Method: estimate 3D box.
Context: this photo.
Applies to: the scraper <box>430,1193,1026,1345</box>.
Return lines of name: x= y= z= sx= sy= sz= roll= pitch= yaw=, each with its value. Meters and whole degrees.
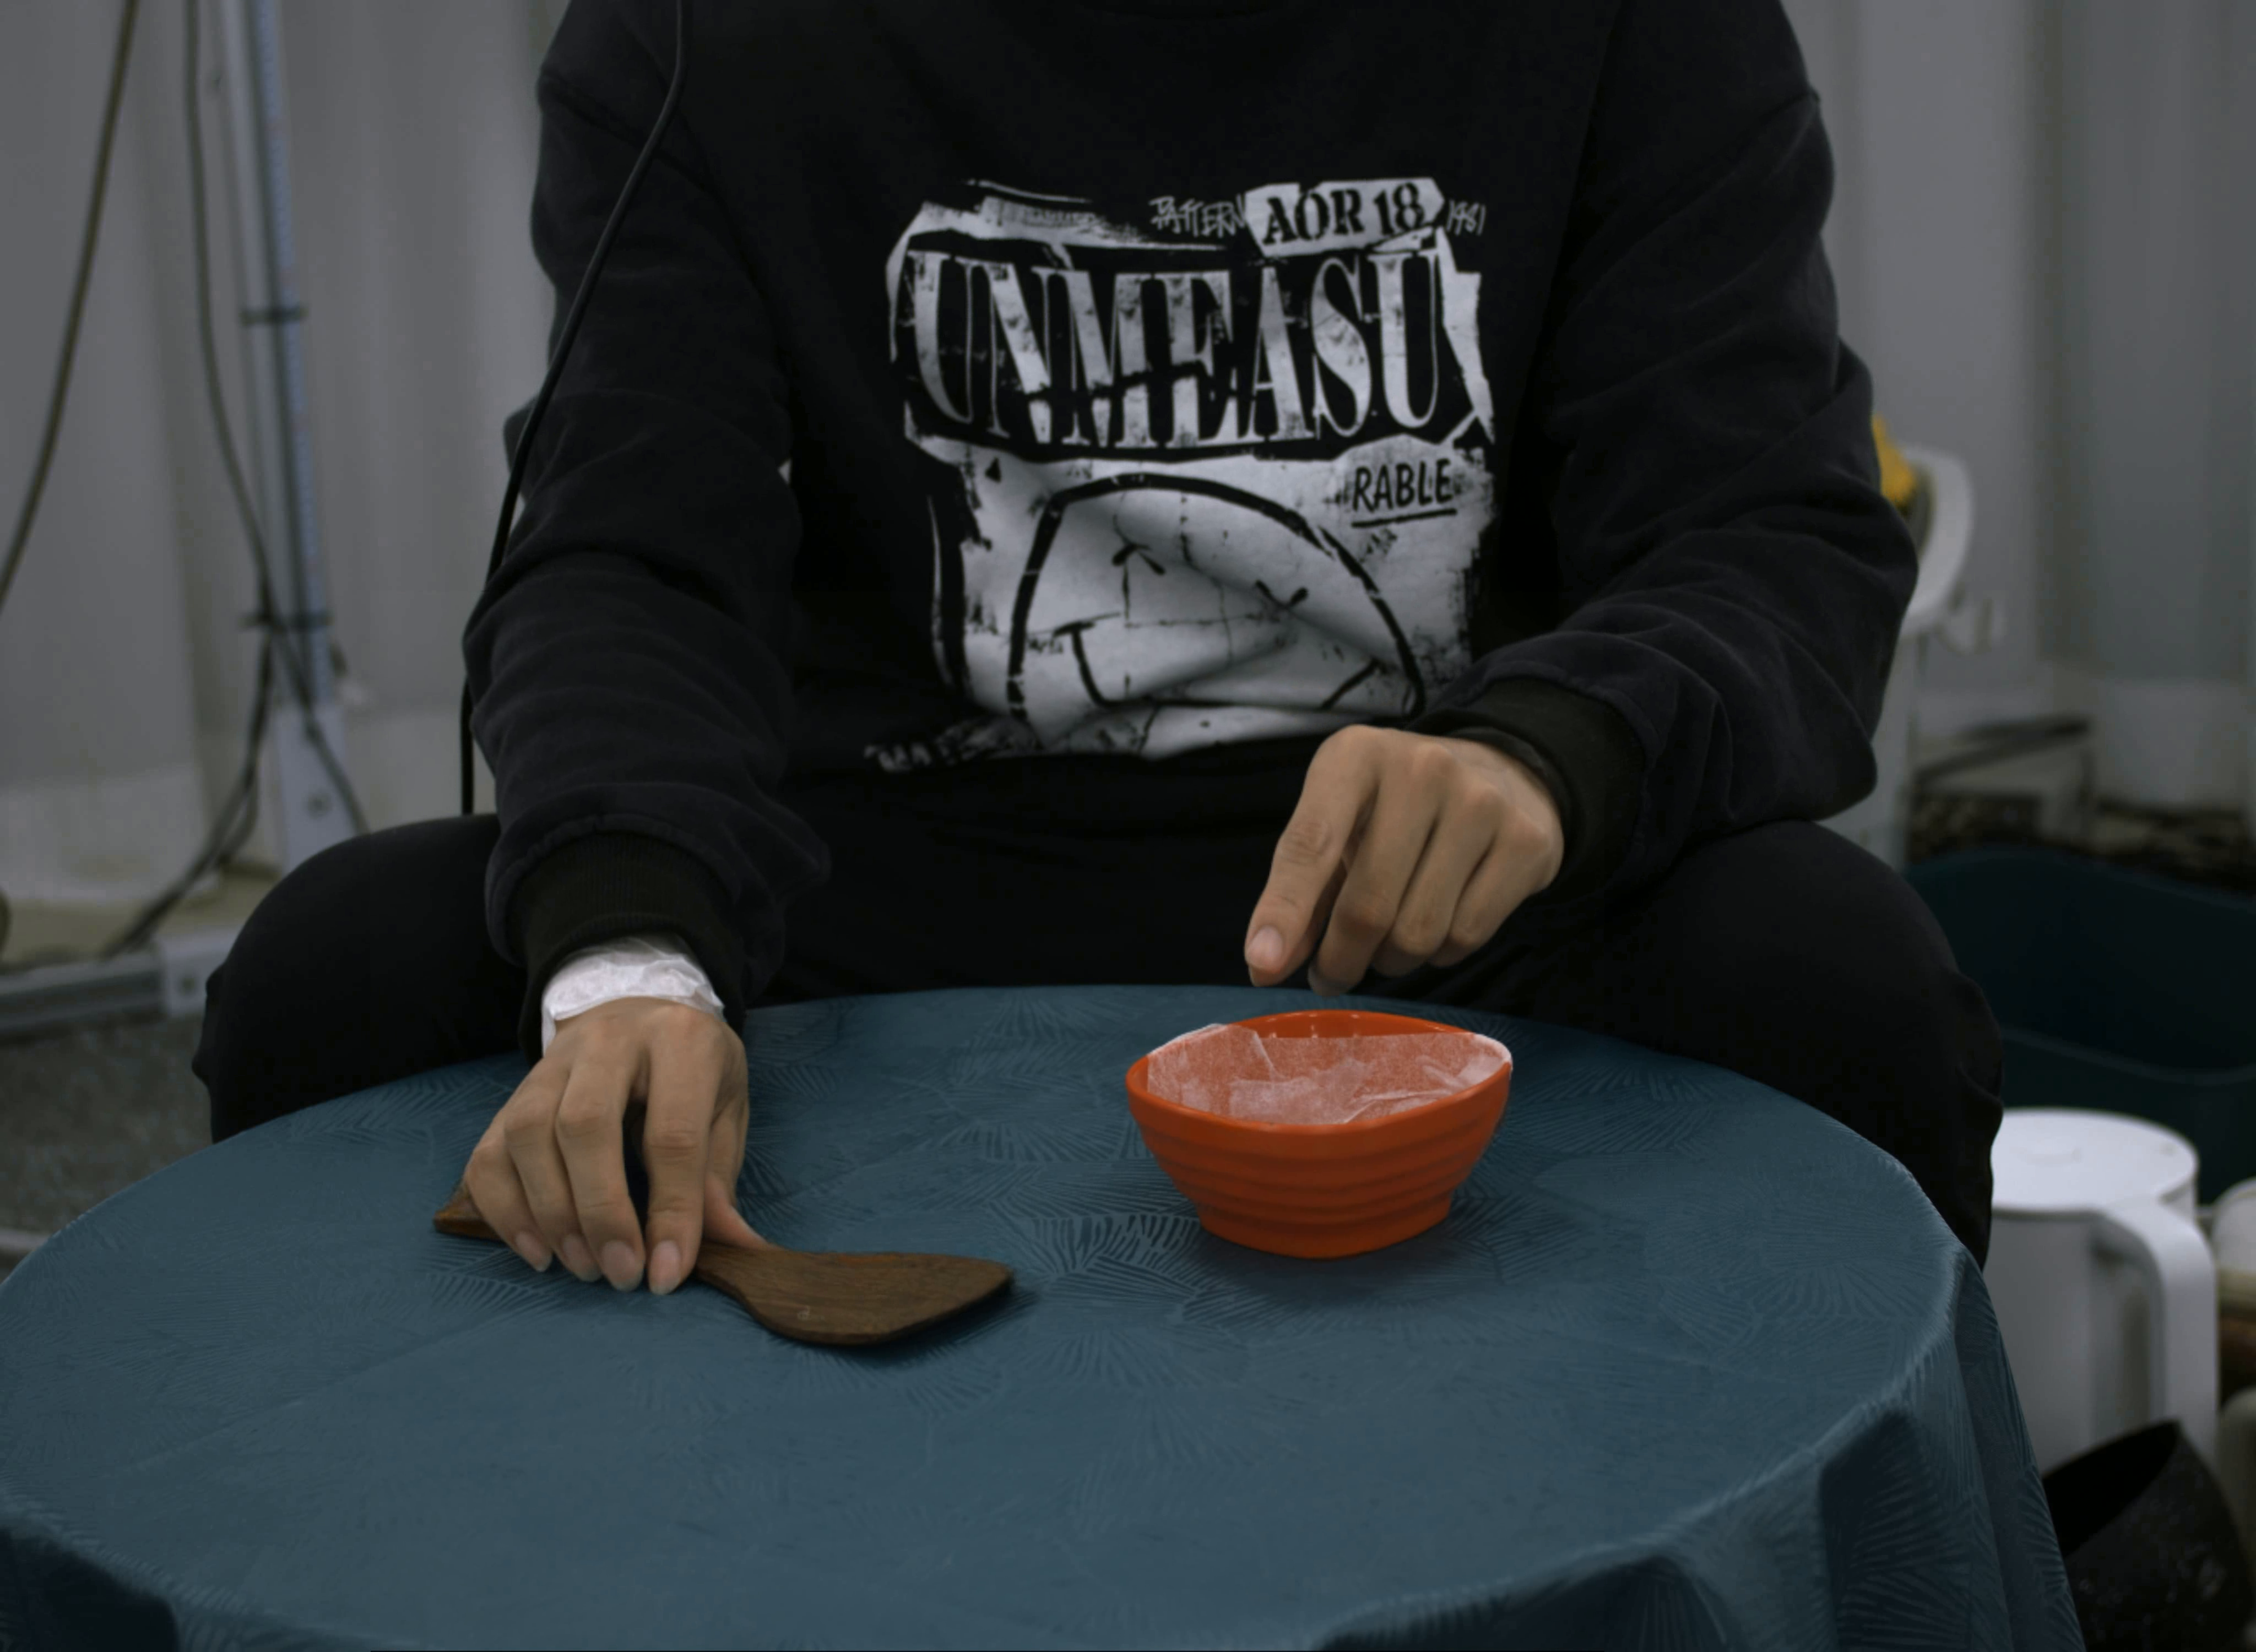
scraper: x=-0.129 y=0.132 z=1.660 sx=0.212 sy=0.011 sz=0.076 roll=8 pitch=17 yaw=36

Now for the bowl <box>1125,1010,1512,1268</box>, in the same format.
bowl: x=0.060 y=0.098 z=1.673 sx=0.118 sy=0.051 sz=0.120 roll=-4 pitch=16 yaw=1
